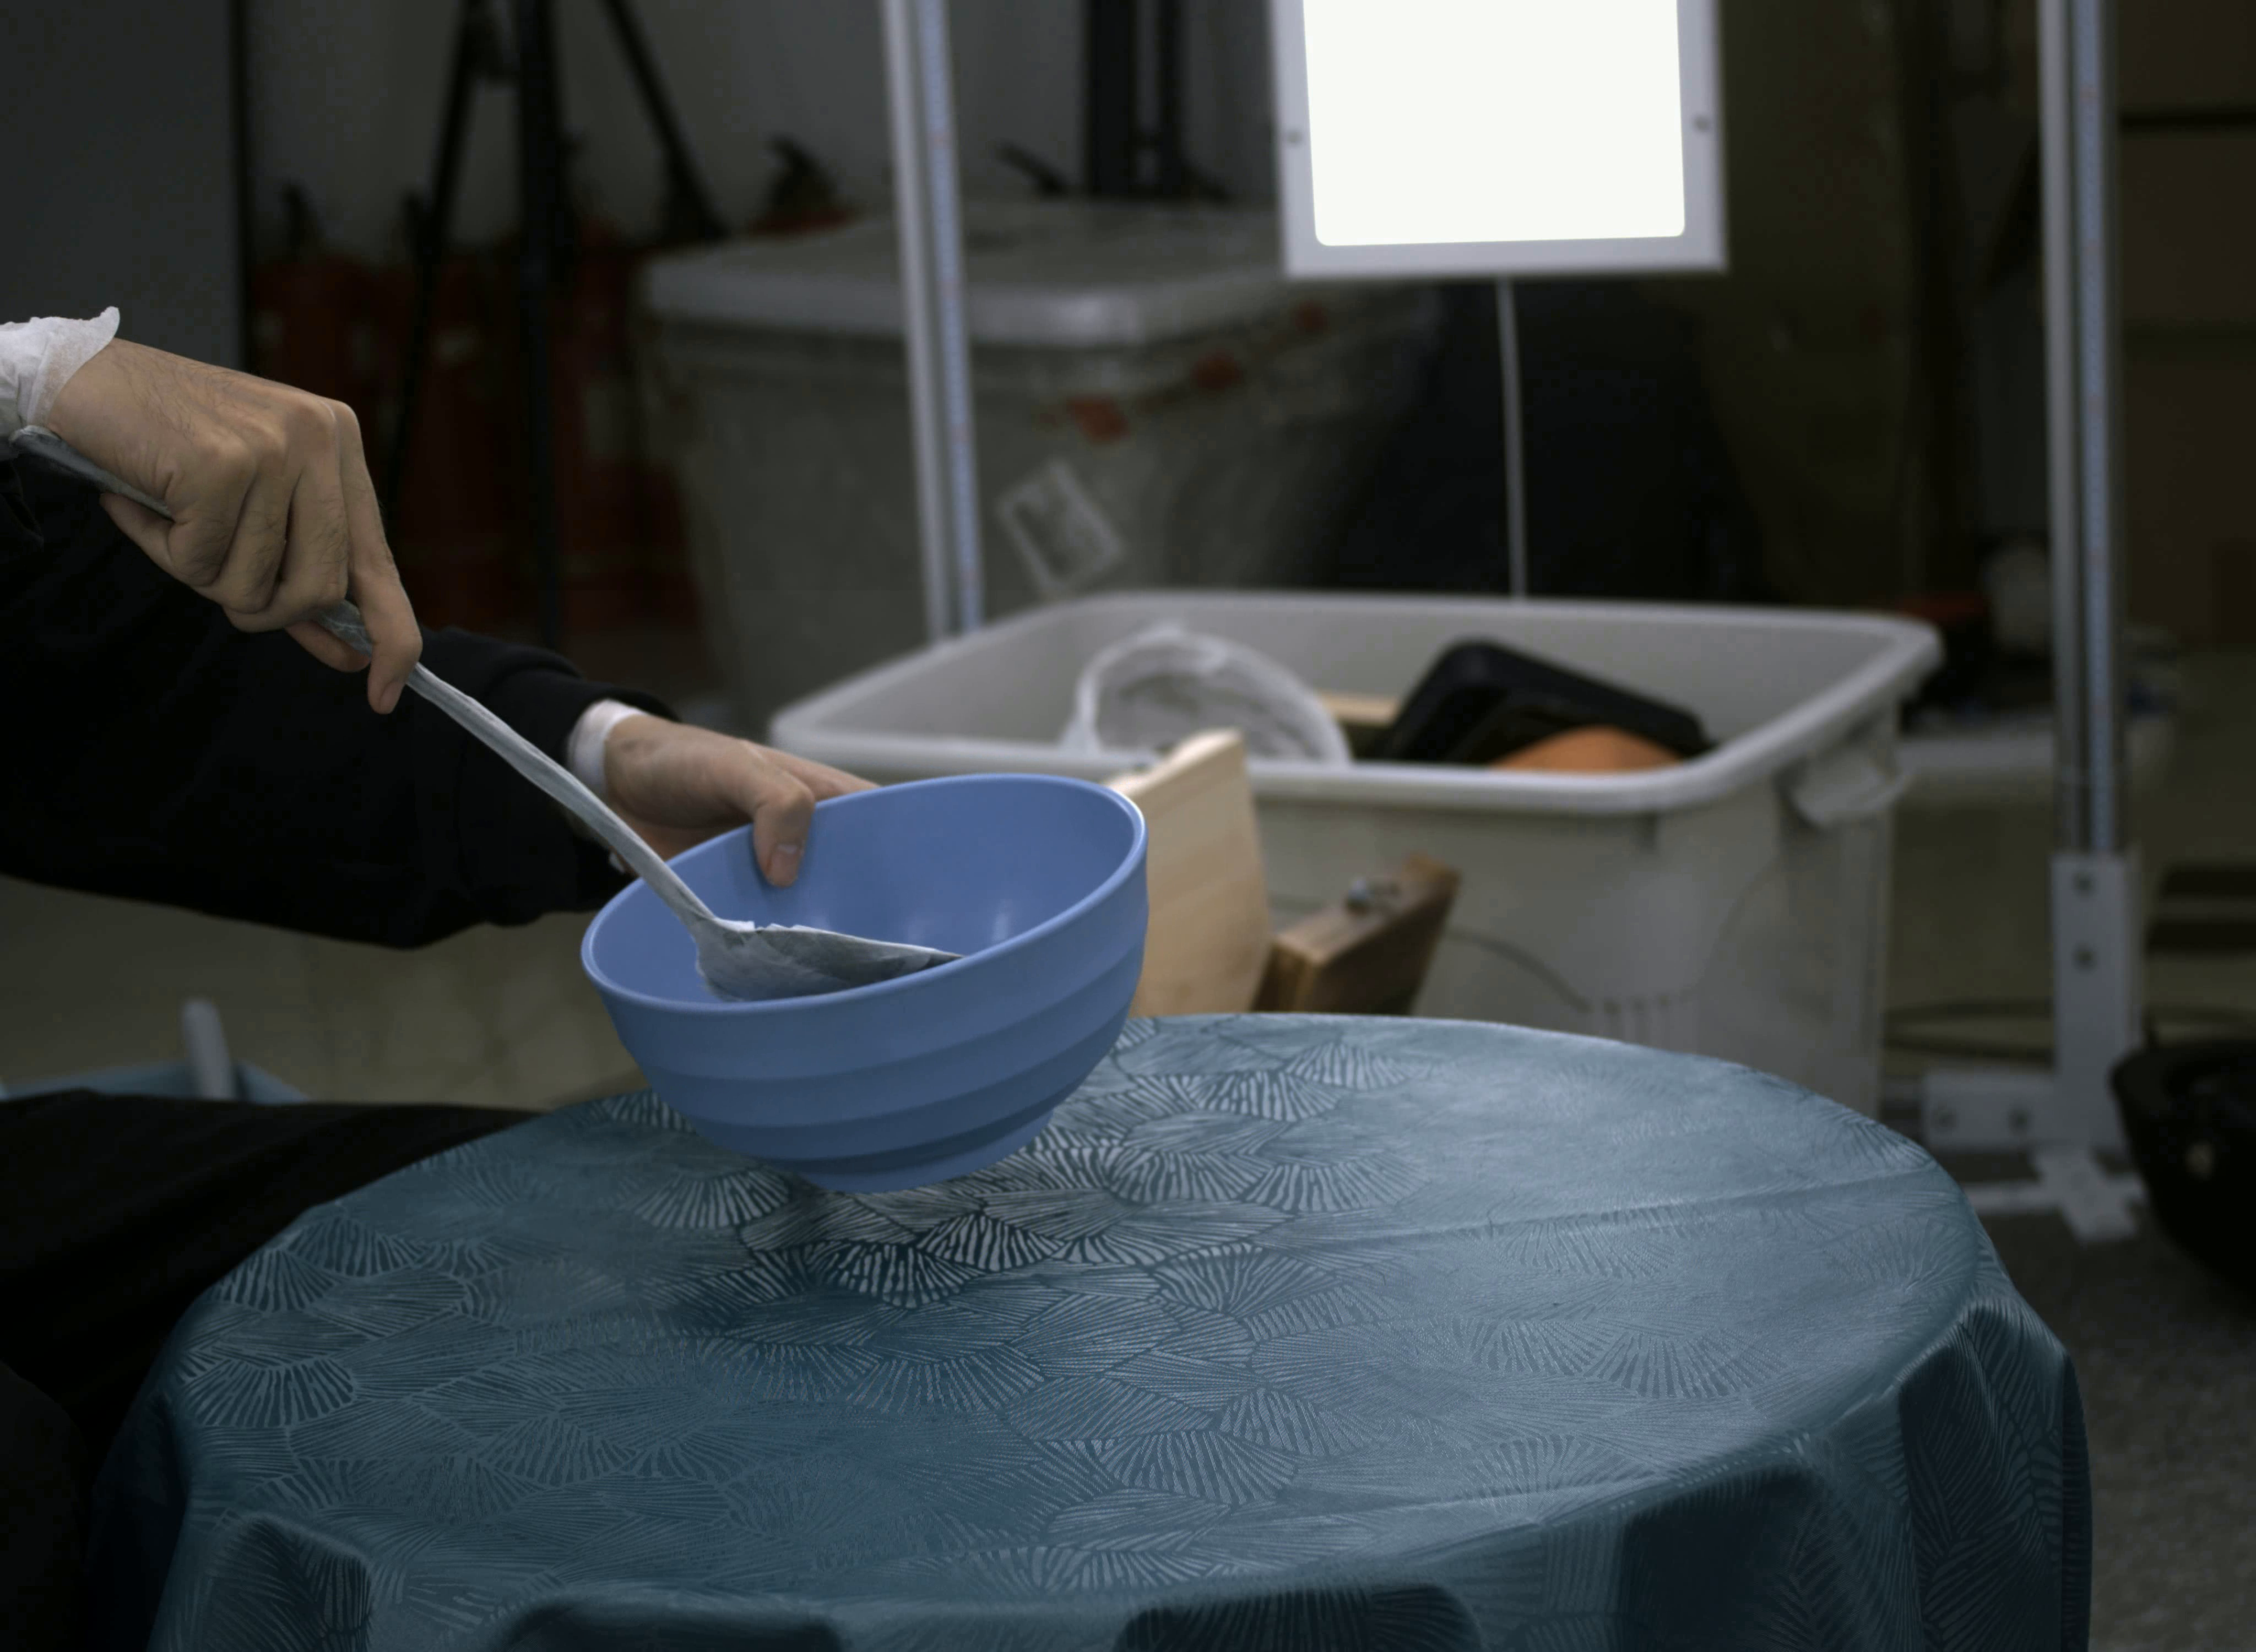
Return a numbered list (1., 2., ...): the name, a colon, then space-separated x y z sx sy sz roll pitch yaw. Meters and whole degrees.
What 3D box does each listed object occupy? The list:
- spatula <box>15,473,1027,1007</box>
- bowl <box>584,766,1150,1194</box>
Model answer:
1. spatula: -0.193 -0.025 1.771 0.044 0.362 0.100 -60 16 -26
2. bowl: -0.078 0.062 1.867 0.196 0.095 0.196 -14 20 4
